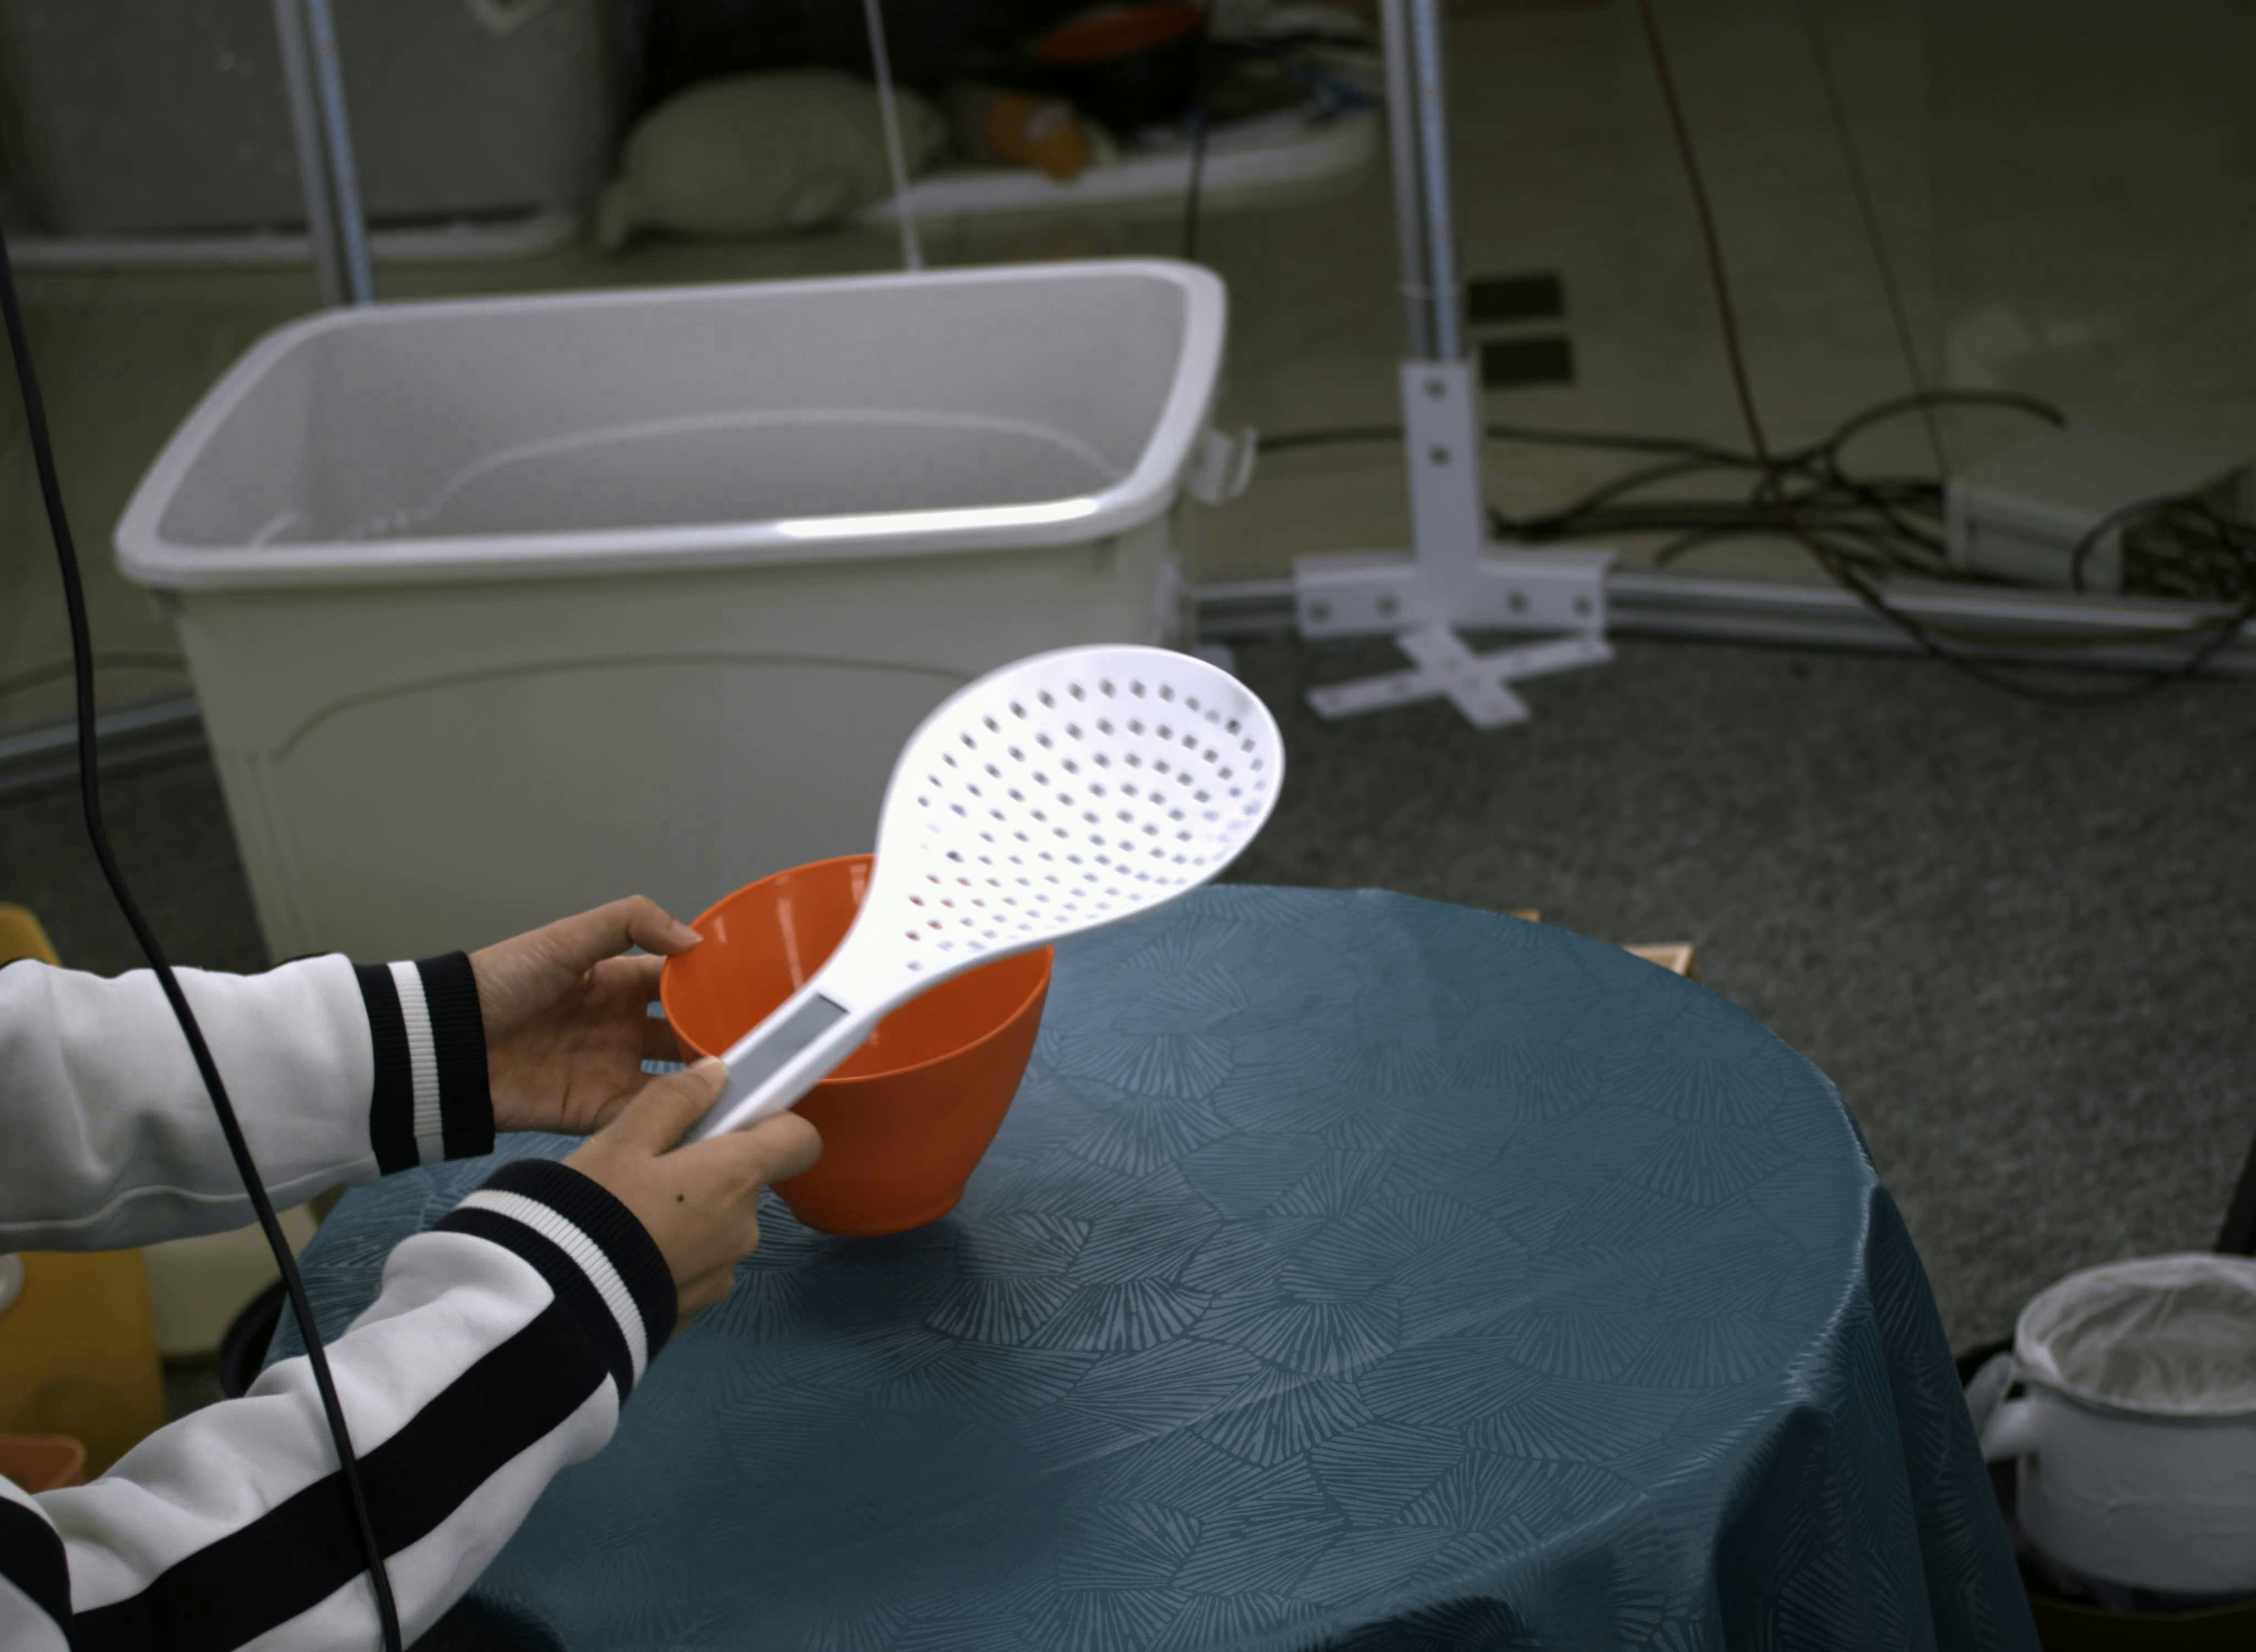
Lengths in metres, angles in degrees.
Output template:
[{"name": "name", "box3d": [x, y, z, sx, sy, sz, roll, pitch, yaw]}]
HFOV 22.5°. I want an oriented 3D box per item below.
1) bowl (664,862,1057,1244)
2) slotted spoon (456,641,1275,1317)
[{"name": "bowl", "box3d": [-0.098, 0.091, 2.129, 0.148, 0.106, 0.146, -3, 25, 1]}, {"name": "slotted spoon", "box3d": [-0.089, 0.051, 1.899, 0.134, 0.046, 0.346, 31, 53, 33]}]
